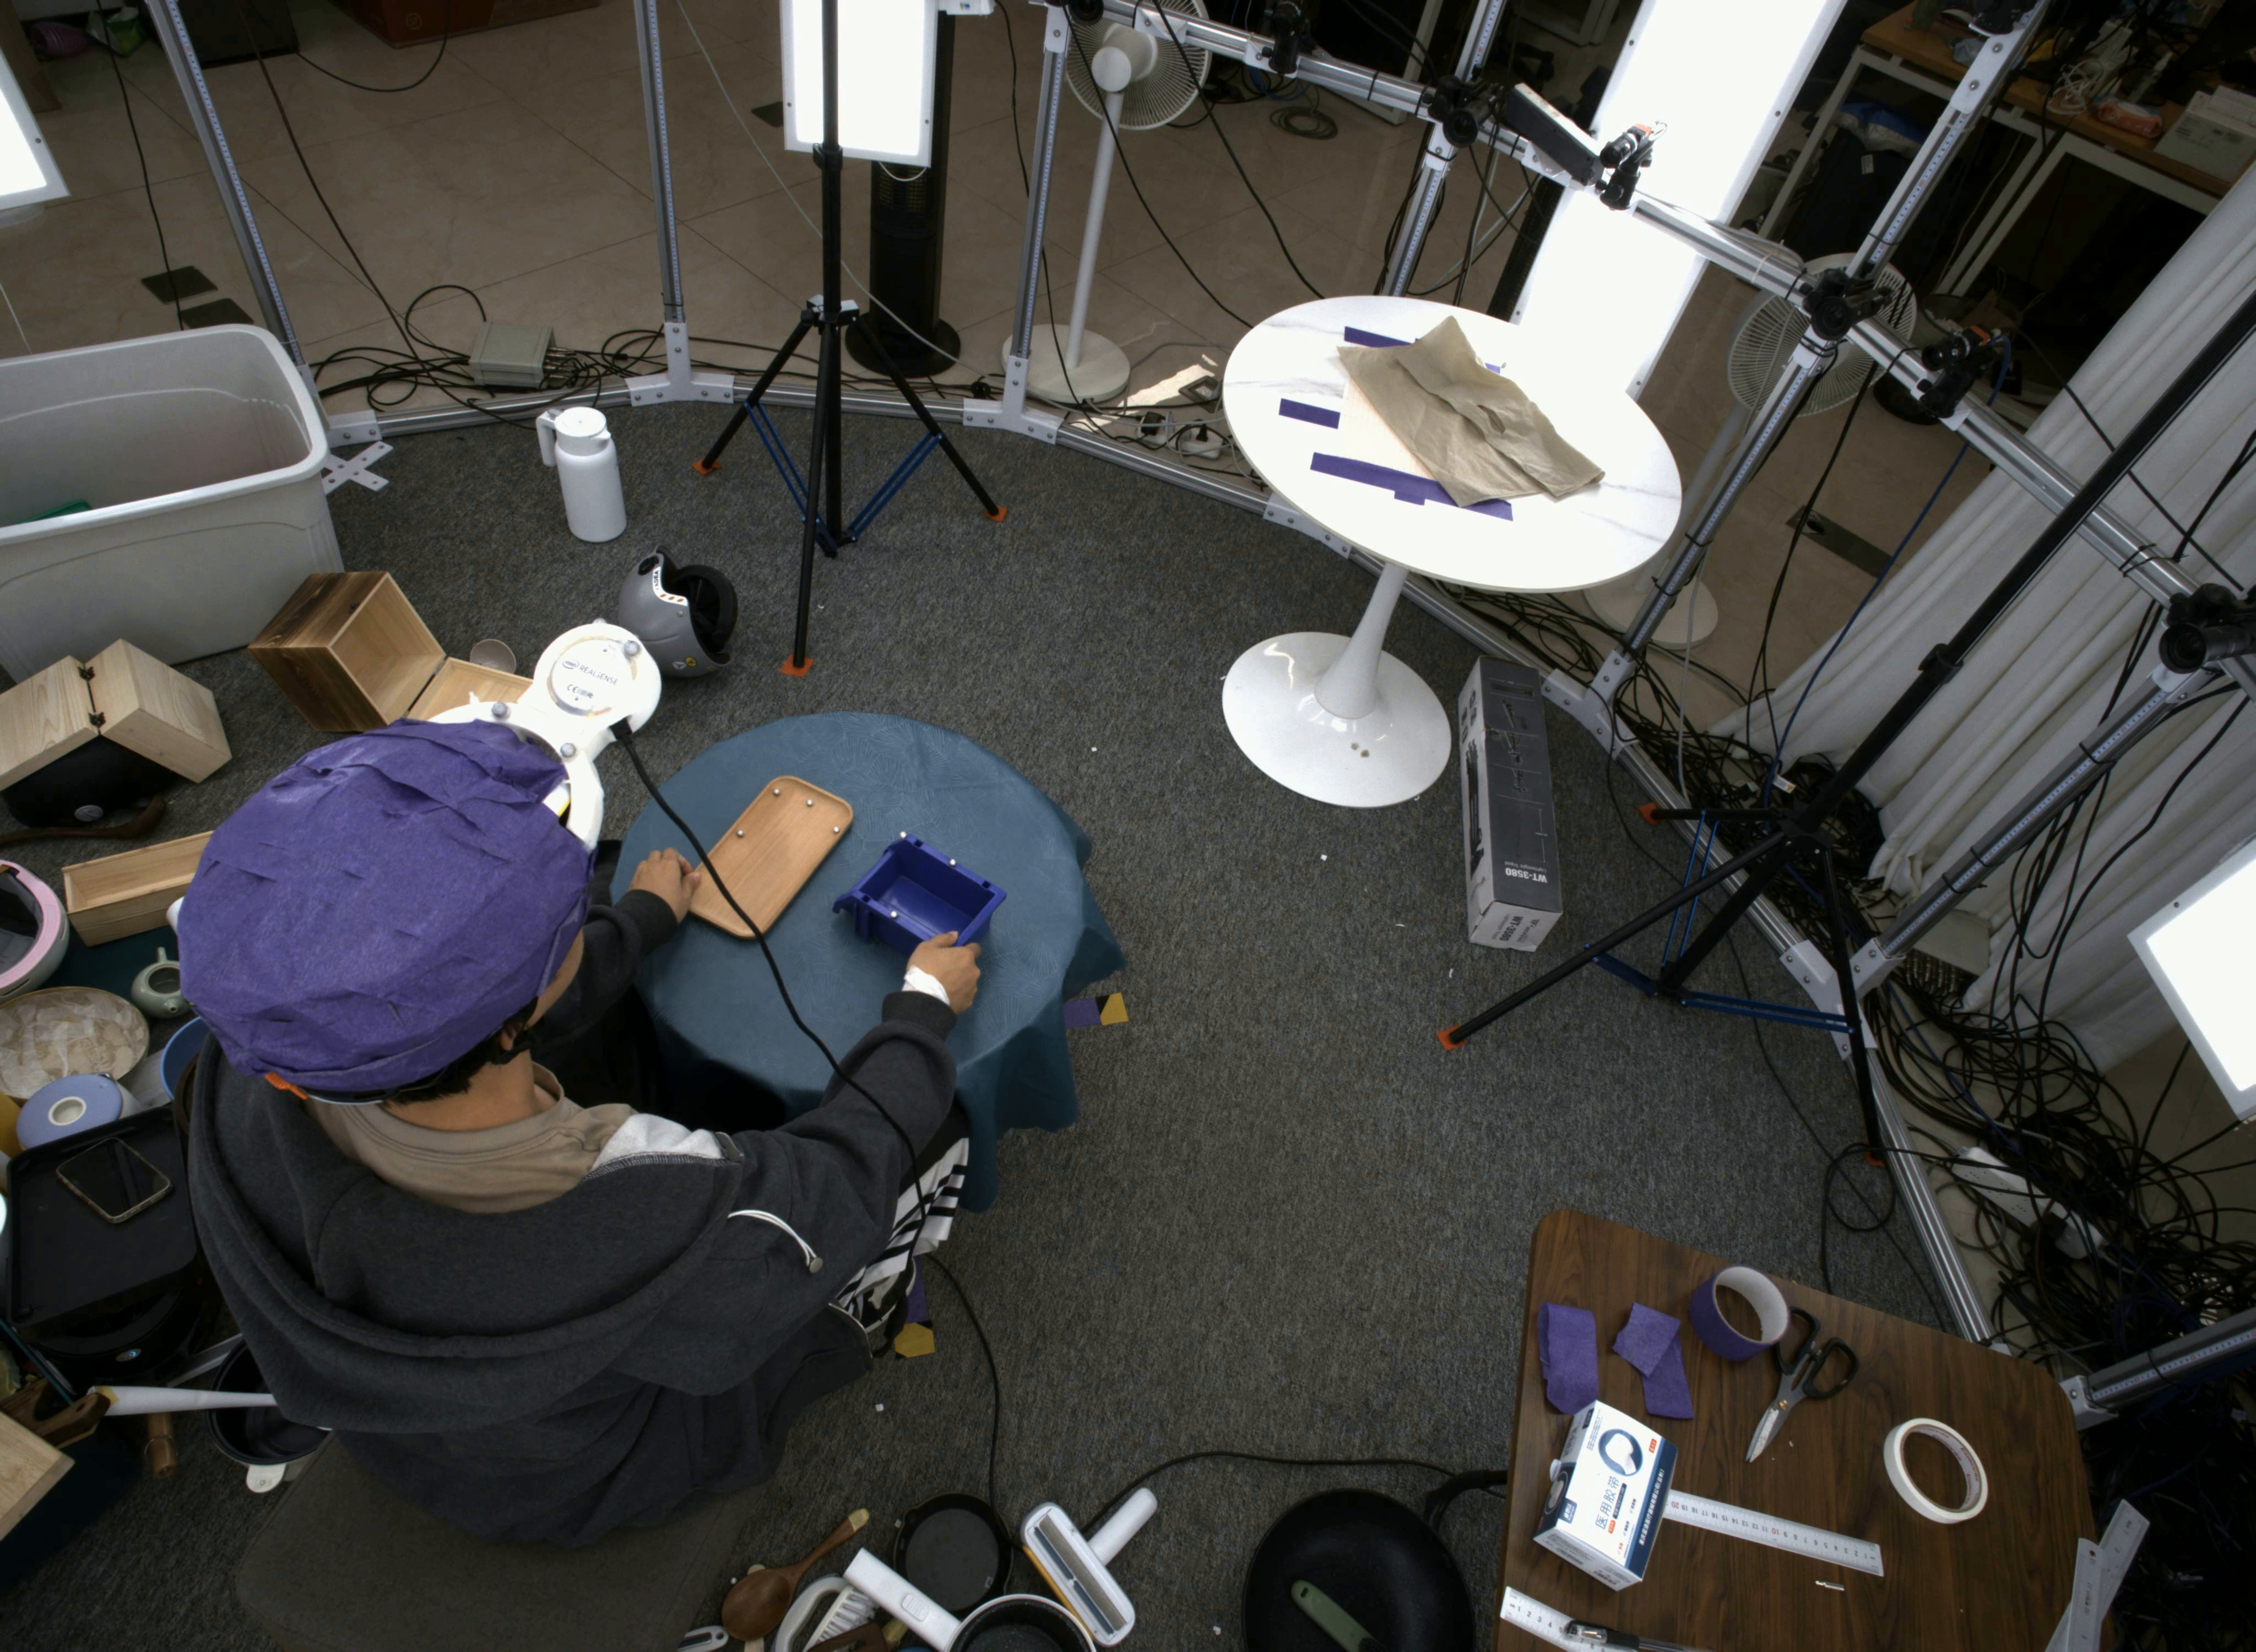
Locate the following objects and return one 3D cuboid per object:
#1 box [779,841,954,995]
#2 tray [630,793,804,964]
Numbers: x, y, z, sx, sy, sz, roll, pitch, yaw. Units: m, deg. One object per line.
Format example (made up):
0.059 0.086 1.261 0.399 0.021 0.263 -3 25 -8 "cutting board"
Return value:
-0.327 0.110 1.619 0.177 0.083 0.124 31 53 6 "box"
-0.521 0.062 1.646 0.128 0.023 0.249 22 52 6 "tray"
